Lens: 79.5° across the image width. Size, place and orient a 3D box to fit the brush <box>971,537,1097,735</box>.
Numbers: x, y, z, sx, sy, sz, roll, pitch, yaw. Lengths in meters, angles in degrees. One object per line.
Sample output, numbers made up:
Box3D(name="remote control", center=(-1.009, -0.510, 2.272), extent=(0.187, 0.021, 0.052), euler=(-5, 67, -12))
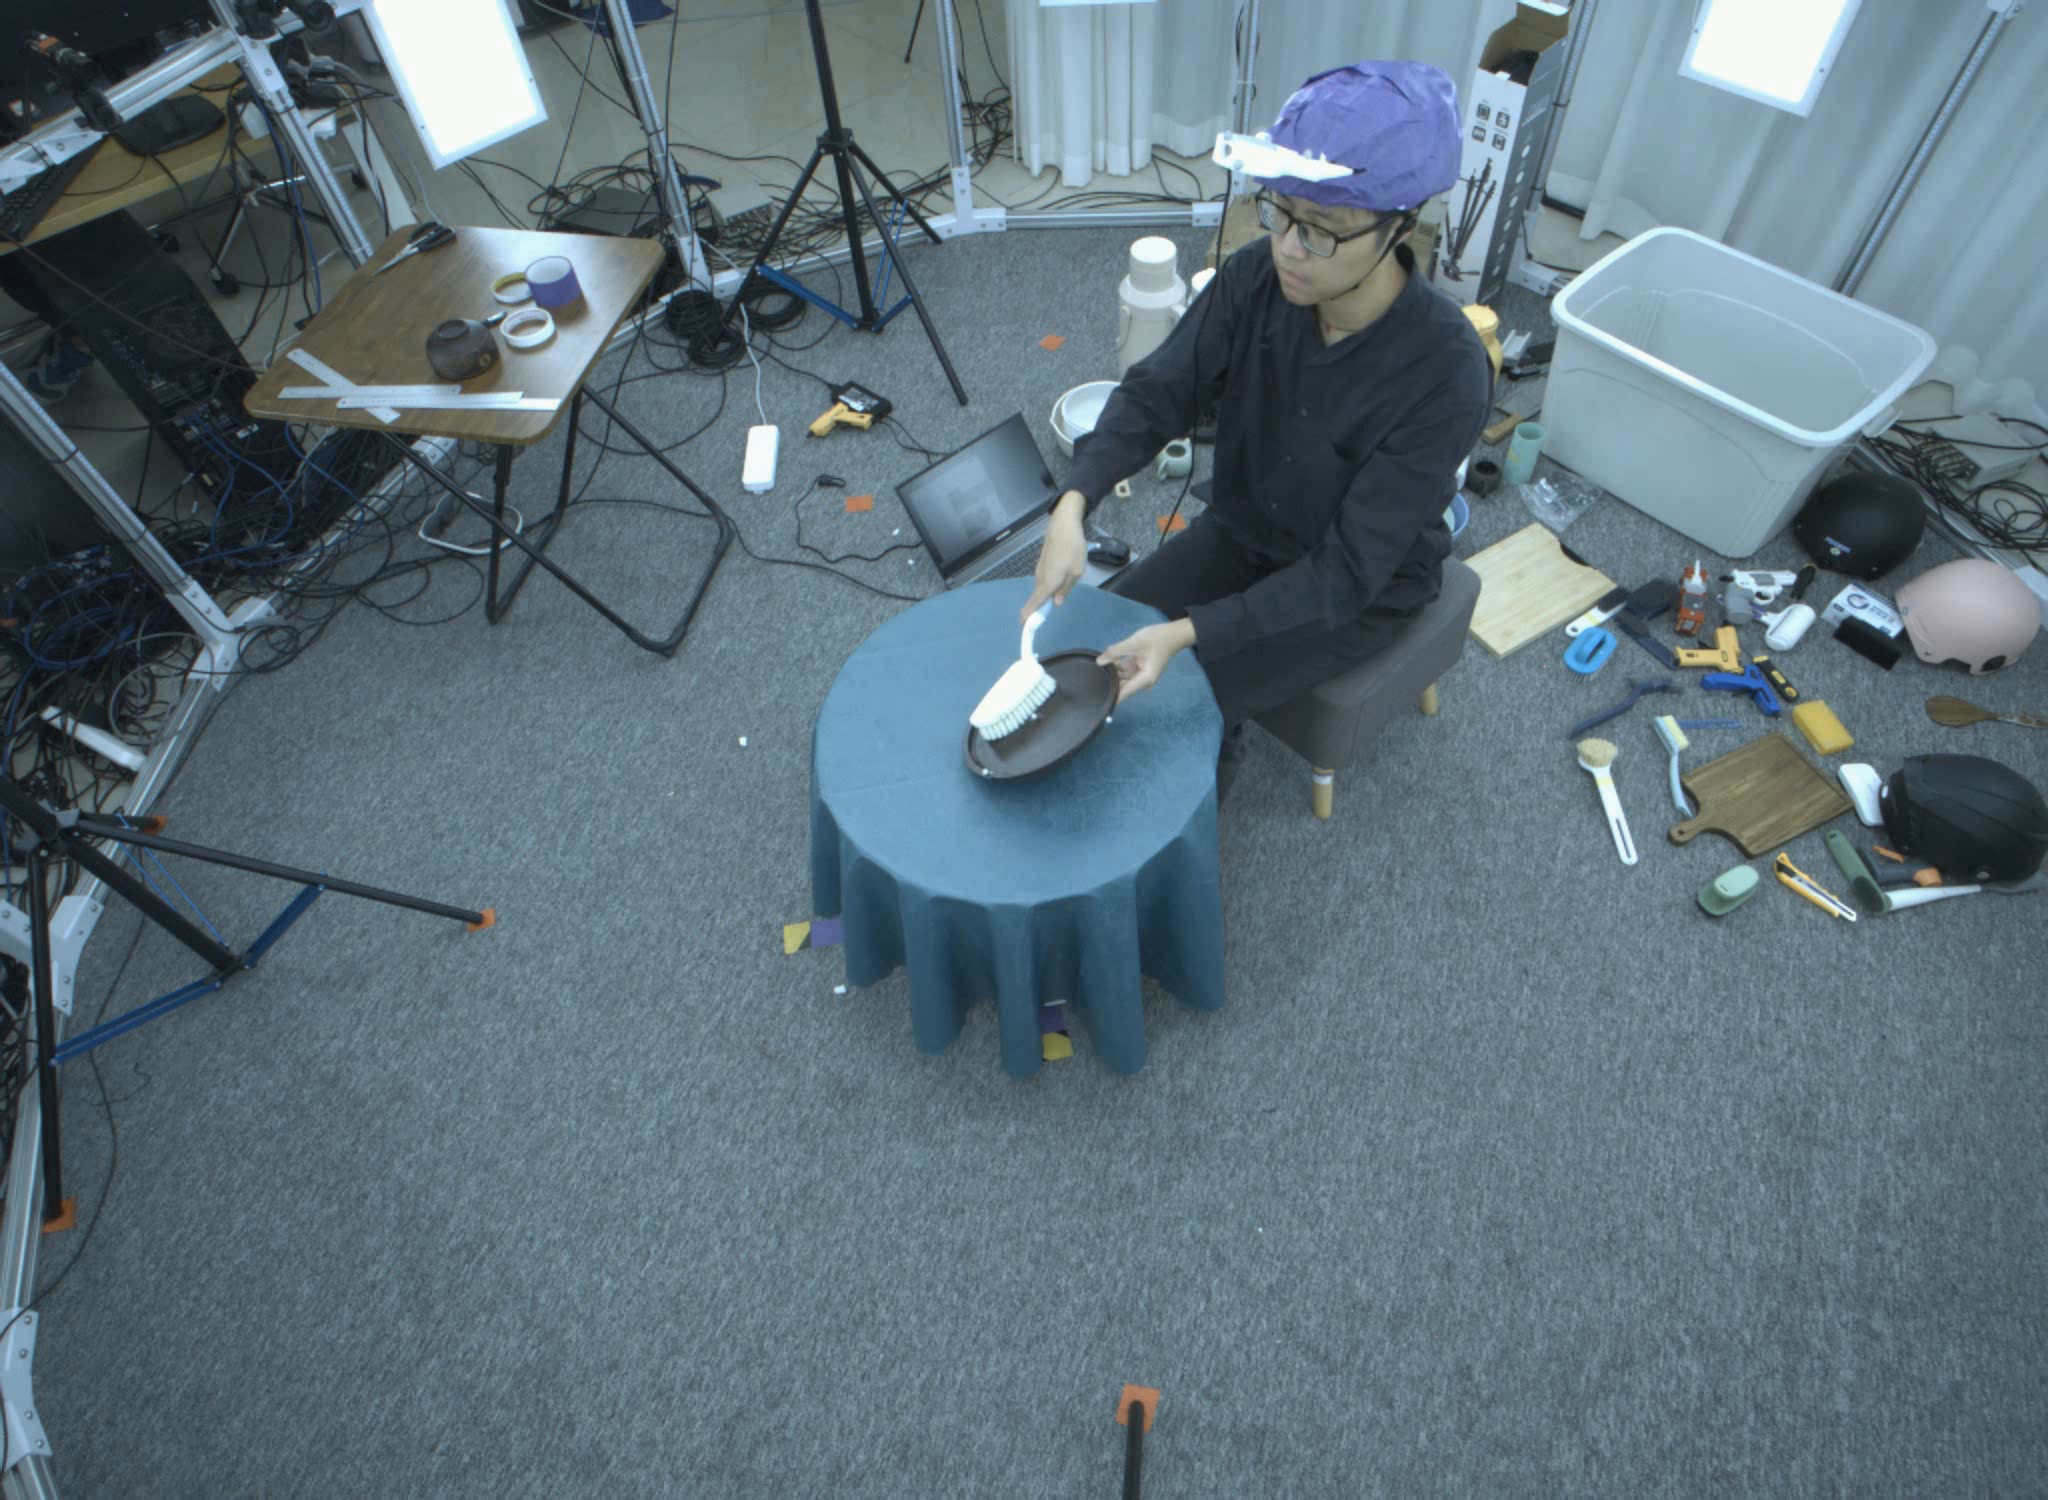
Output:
Box3D(name="brush", center=(0.037, -0.158, 1.774), extent=(0.082, 0.085, 0.325), euler=(30, 84, 14))

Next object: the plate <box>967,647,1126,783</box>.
Box3D(name="plate", center=(0.031, -0.050, 1.731), extent=(0.252, 0.029, 0.252), euler=(-23, 36, 19))
